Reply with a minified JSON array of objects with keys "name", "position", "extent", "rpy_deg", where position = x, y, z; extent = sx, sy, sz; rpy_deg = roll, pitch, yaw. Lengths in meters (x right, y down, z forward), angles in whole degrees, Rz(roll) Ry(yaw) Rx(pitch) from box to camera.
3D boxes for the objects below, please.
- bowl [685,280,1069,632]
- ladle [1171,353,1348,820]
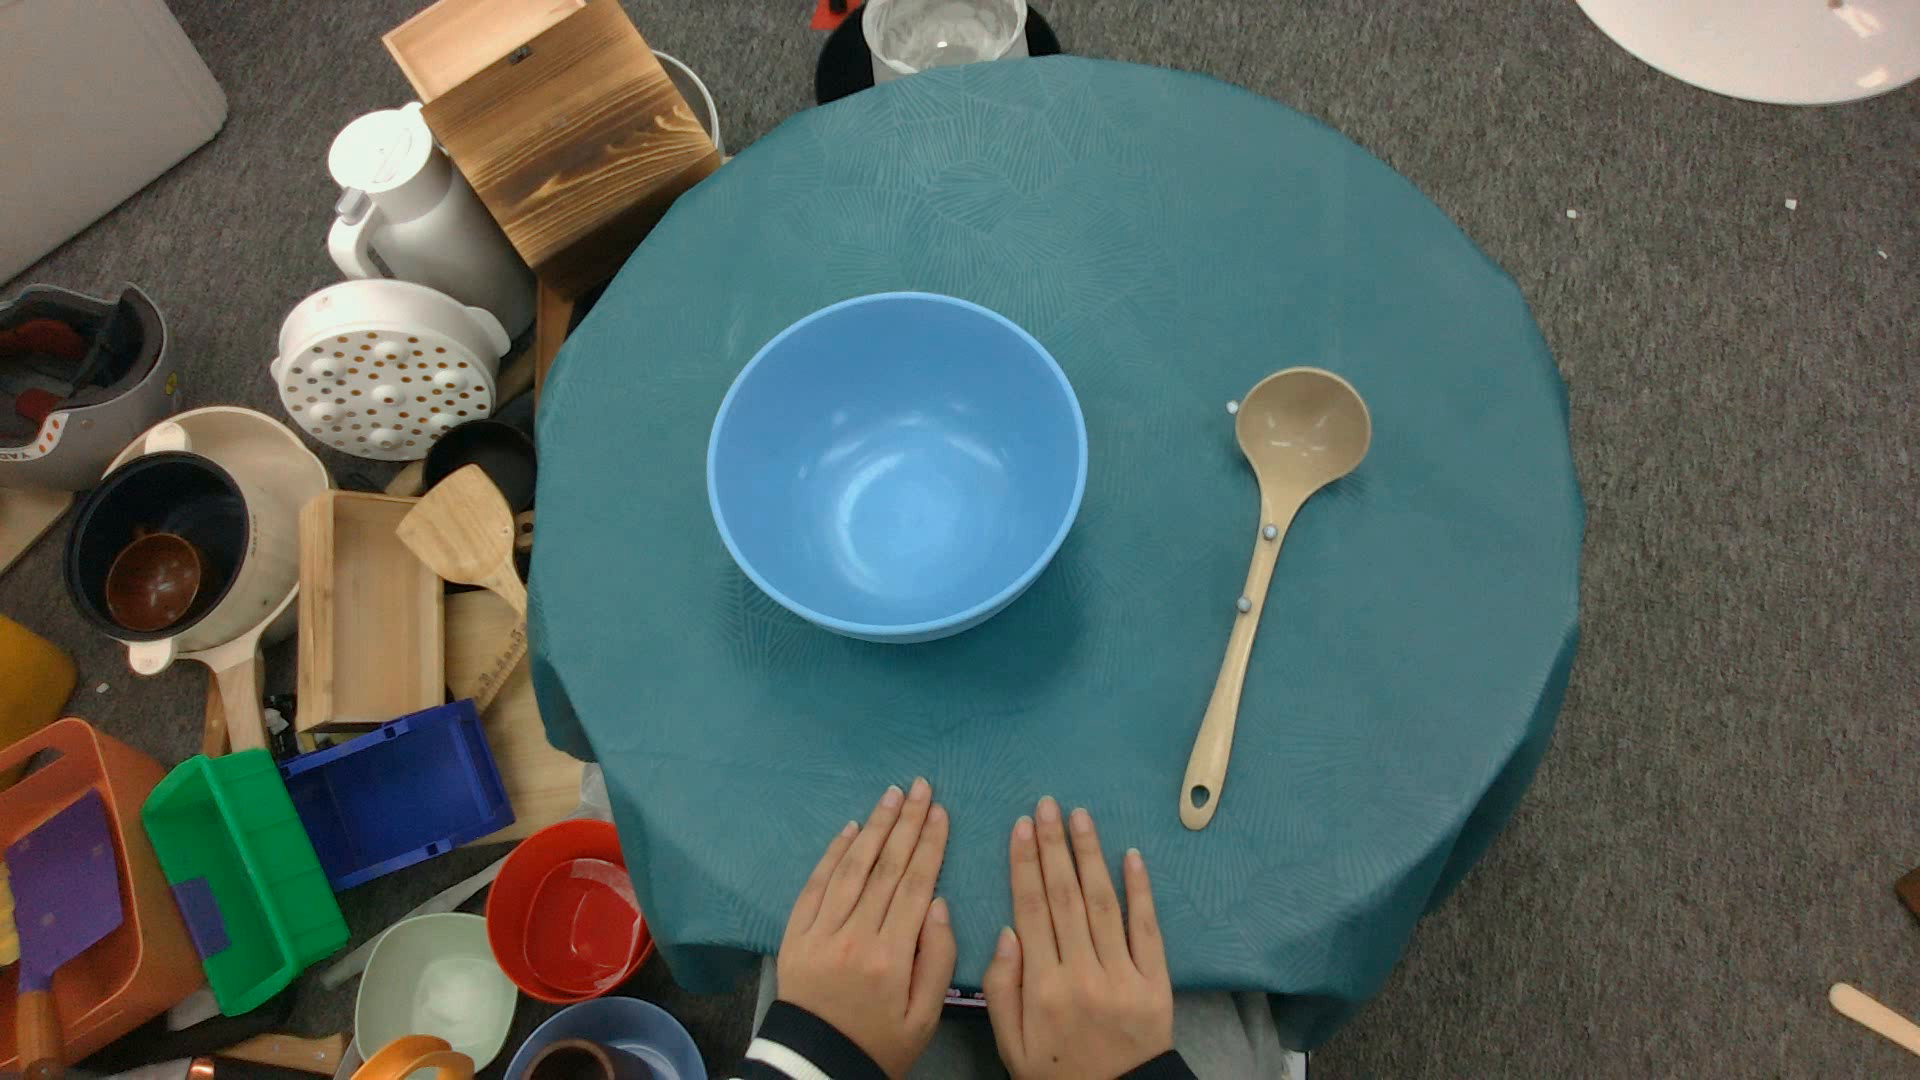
[{"name":"bowl","position":[-0.042,-0.032,0.746],"extent":[0.196,0.095,0.197],"rpy_deg":[0,67,0]},{"name":"ladle","position":[0.149,0.018,0.725],"extent":[0.072,0.072,0.255],"rpy_deg":[14,68,9]}]
